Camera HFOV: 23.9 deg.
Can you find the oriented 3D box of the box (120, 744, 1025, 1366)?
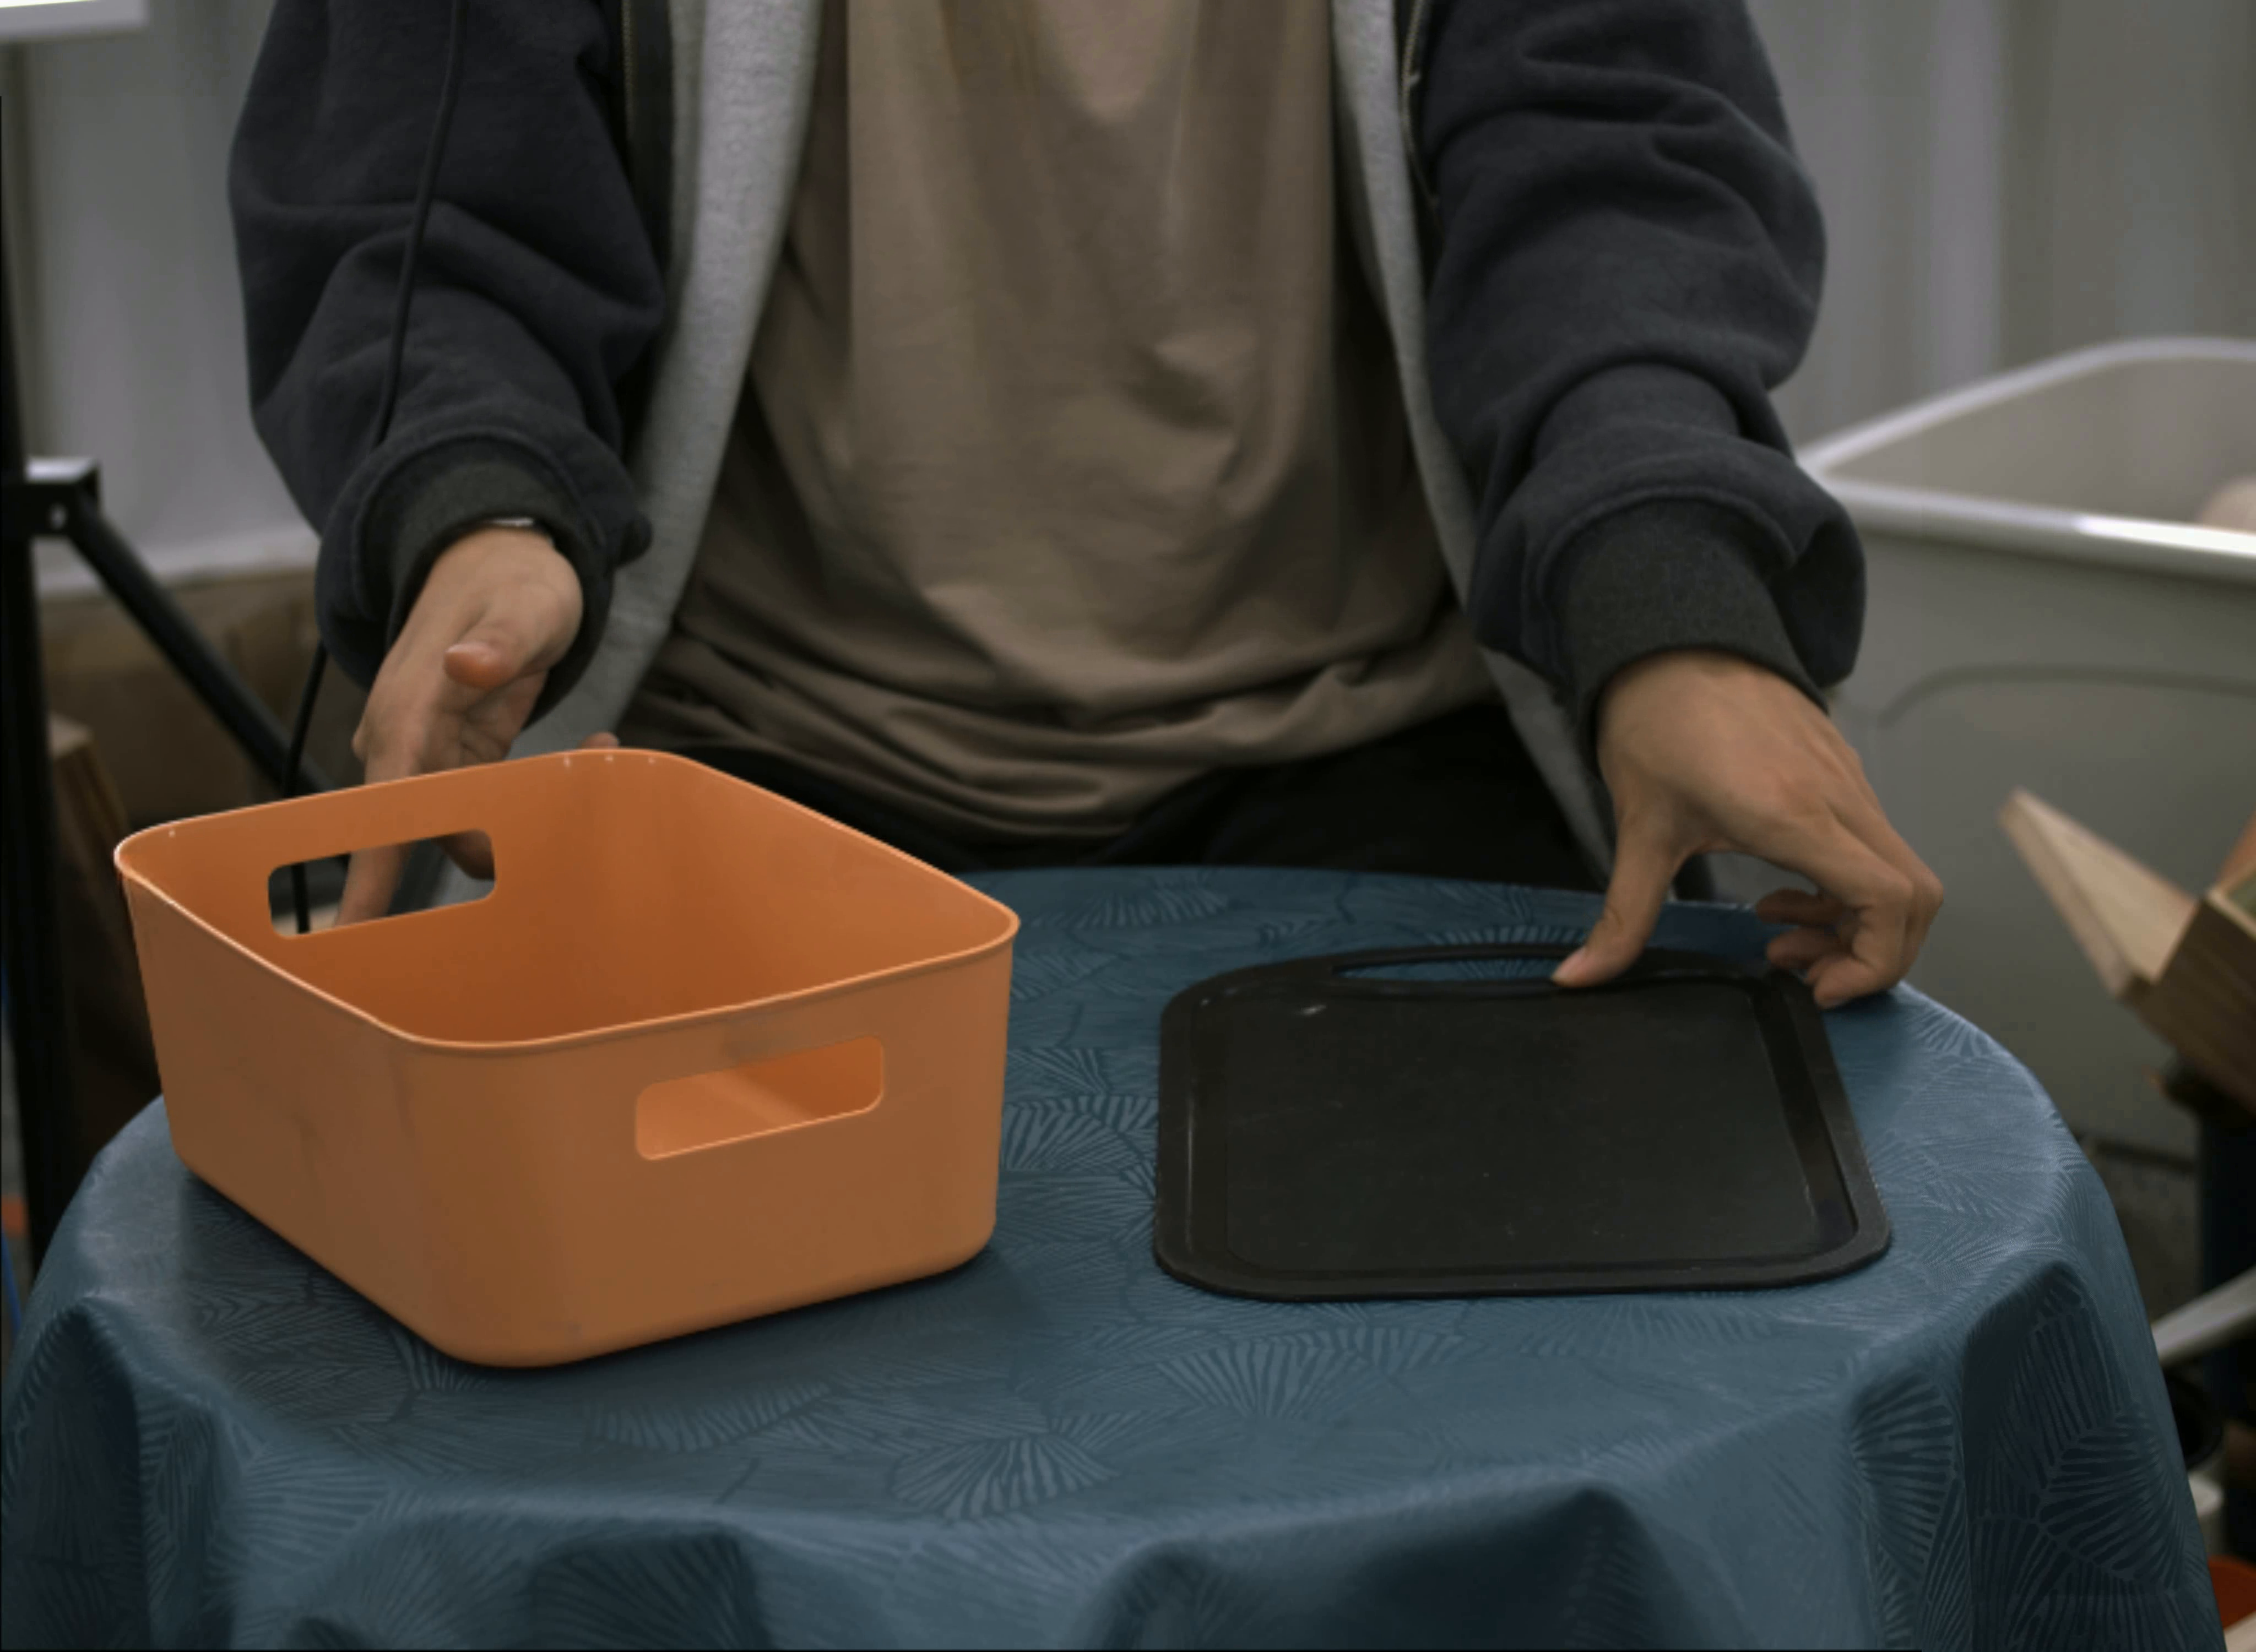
[{"bbox_3d":[-0.162,0.063,1.557,0.195,0.102,0.279,-11,18,-28],"label":"box"}]

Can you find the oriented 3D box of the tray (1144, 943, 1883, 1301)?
[{"bbox_3d":[0.111,0.084,1.615,0.210,0.010,0.326,-2,16,2],"label":"tray"}]
